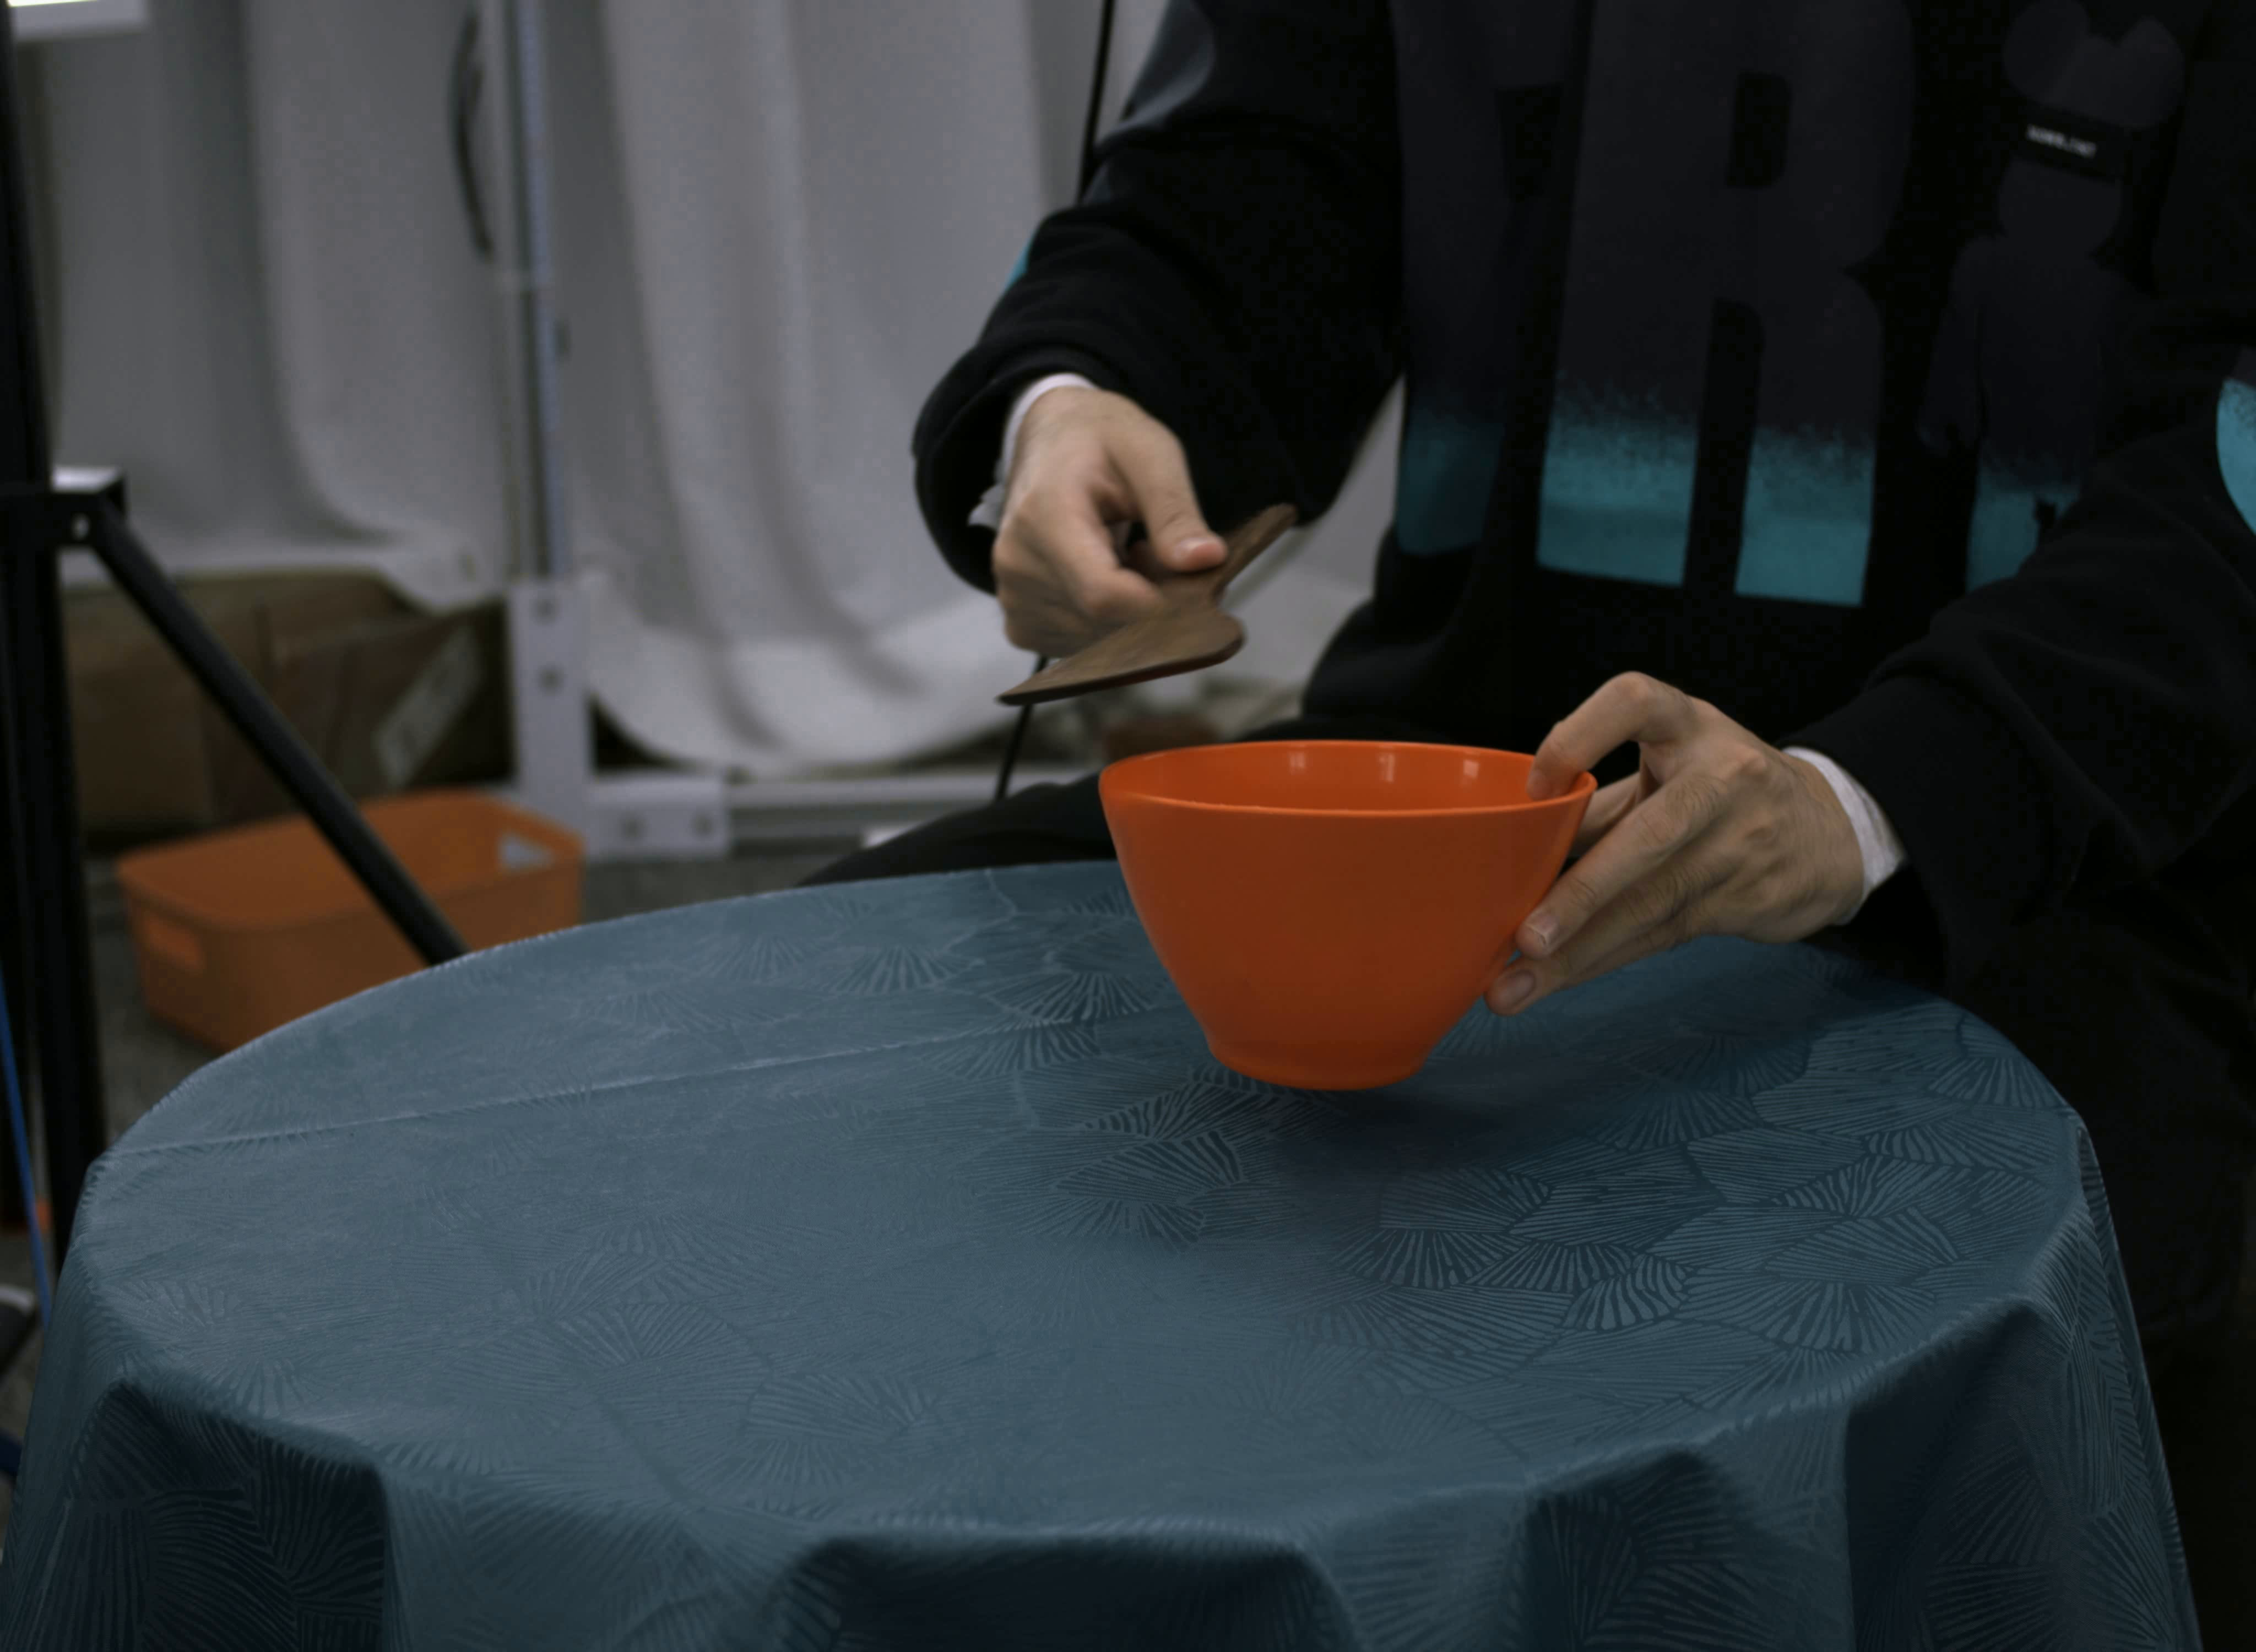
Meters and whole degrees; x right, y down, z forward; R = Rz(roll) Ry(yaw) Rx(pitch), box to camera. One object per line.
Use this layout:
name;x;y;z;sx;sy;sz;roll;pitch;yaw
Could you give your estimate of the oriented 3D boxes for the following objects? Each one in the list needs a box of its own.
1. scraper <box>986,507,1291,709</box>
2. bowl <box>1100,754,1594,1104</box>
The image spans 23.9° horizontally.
scraper;0.016;-0.071;1.688;0.076;0.011;0.209;-11;15;19
bowl;0.063;0.028;1.591;0.147;0.105;0.149;2;16;-2
